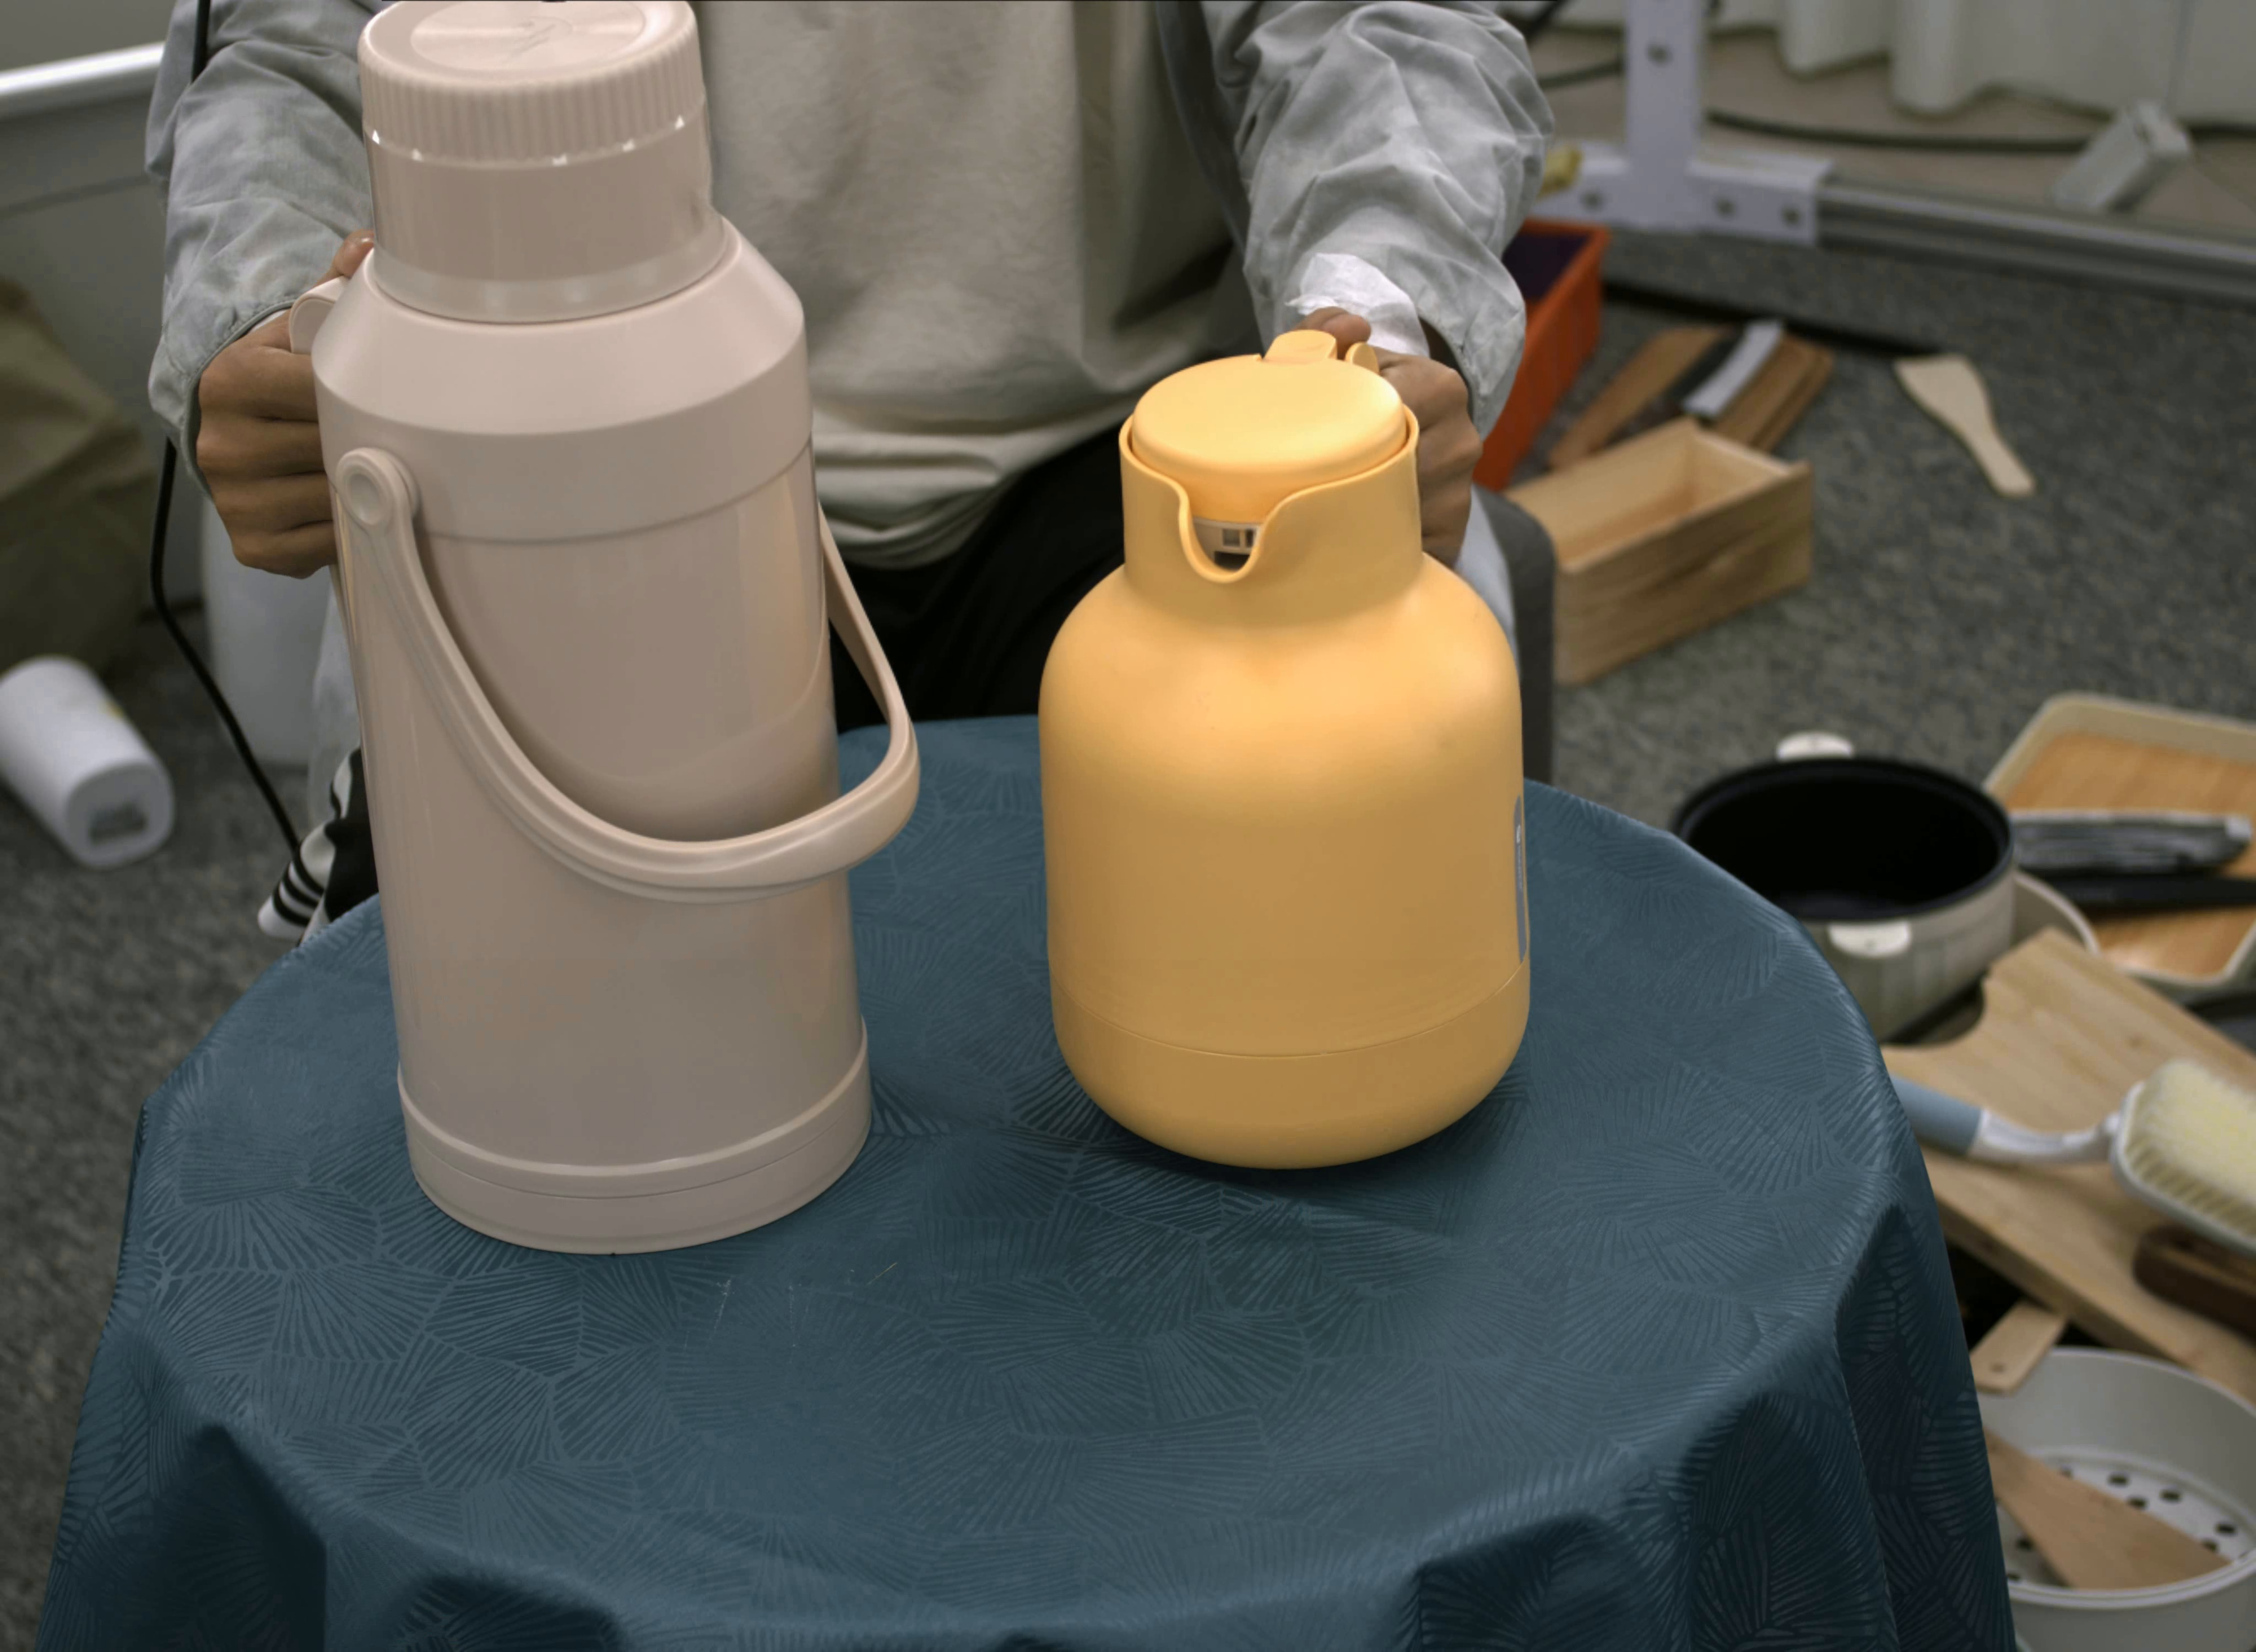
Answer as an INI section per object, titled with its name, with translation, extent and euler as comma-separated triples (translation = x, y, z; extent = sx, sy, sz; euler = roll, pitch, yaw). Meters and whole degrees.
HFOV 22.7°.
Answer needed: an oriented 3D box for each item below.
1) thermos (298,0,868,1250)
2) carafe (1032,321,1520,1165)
[thermos]
translation = -0.185, -0.076, 1.834
extent = 0.206, 0.402, 0.178
euler = 19, 34, 36
[carafe]
translation = 0.055, -0.037, 1.880
extent = 0.162, 0.257, 0.206
euler = 7, 29, 14
